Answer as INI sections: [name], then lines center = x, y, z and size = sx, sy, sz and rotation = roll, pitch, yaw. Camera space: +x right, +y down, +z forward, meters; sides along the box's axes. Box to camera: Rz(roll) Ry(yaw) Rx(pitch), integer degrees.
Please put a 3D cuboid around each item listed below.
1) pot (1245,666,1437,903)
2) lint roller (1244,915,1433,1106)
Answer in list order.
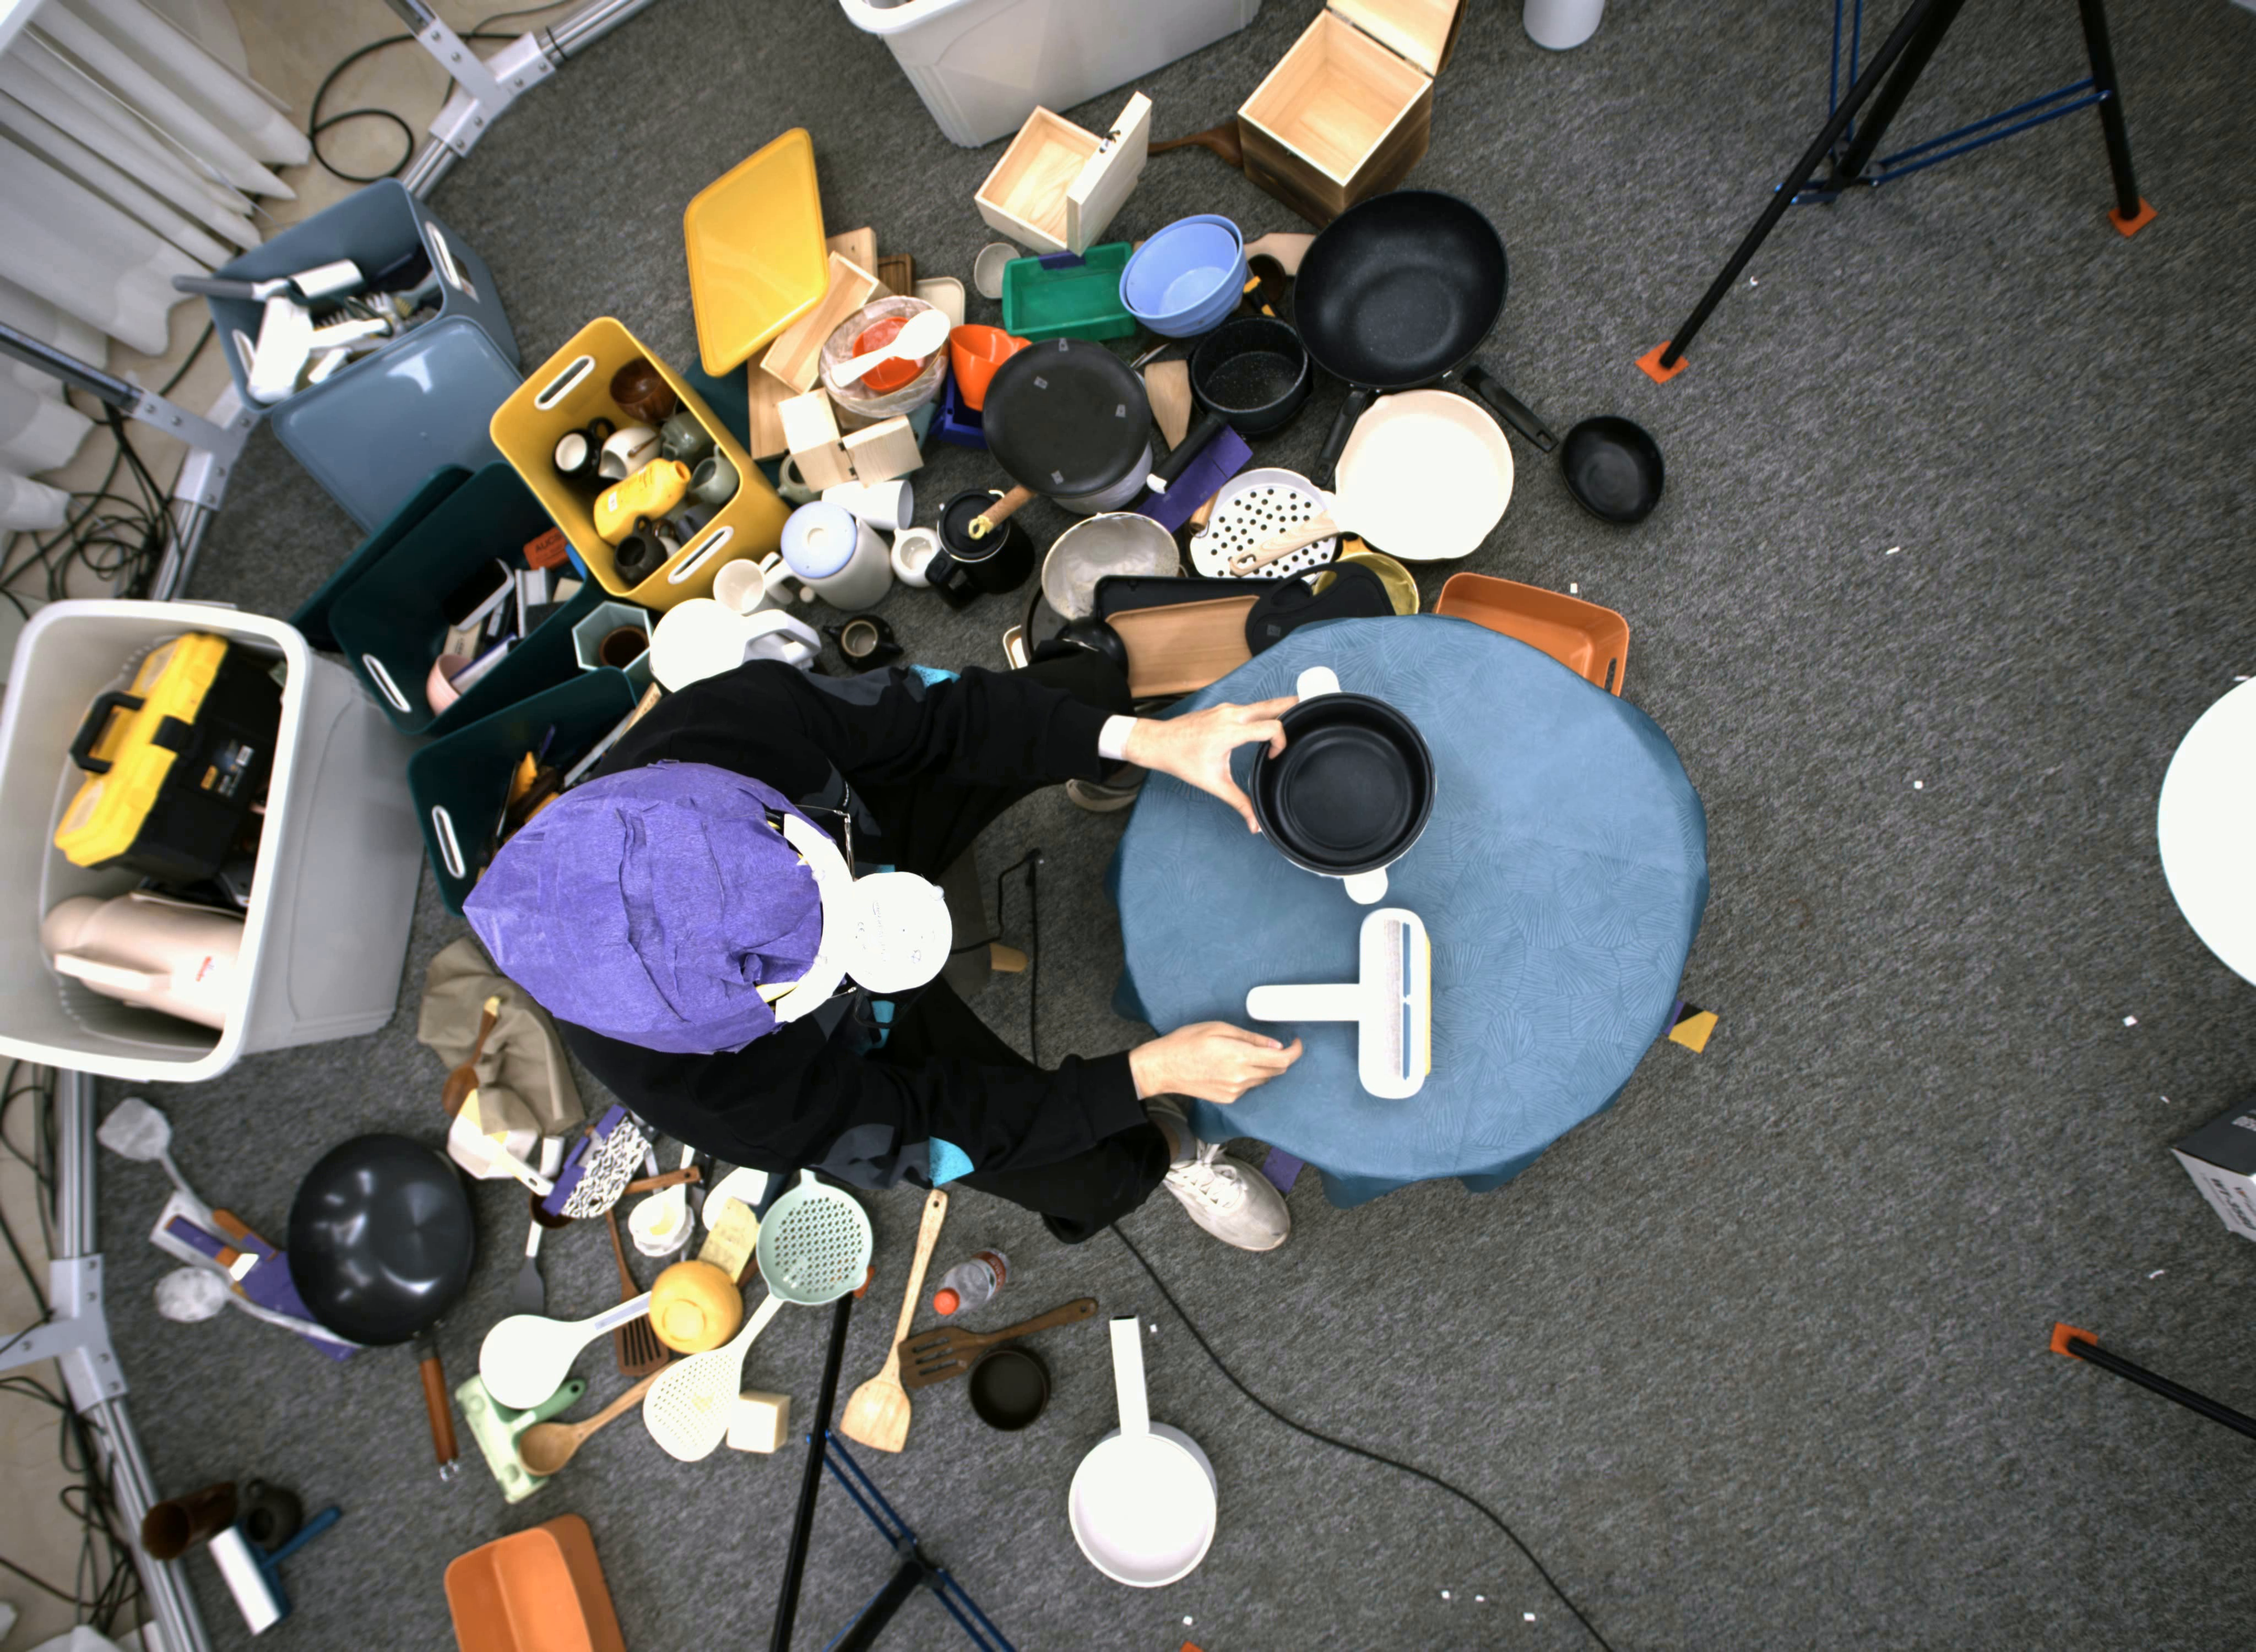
[pot]
center = 0.213, -0.034, 1.401
size = 0.191, 0.143, 0.239
rotation = -15, 83, 6
[lint roller]
center = 0.213, 0.183, 1.426
size = 0.193, 0.074, 0.191
rotation = 4, 82, 12
